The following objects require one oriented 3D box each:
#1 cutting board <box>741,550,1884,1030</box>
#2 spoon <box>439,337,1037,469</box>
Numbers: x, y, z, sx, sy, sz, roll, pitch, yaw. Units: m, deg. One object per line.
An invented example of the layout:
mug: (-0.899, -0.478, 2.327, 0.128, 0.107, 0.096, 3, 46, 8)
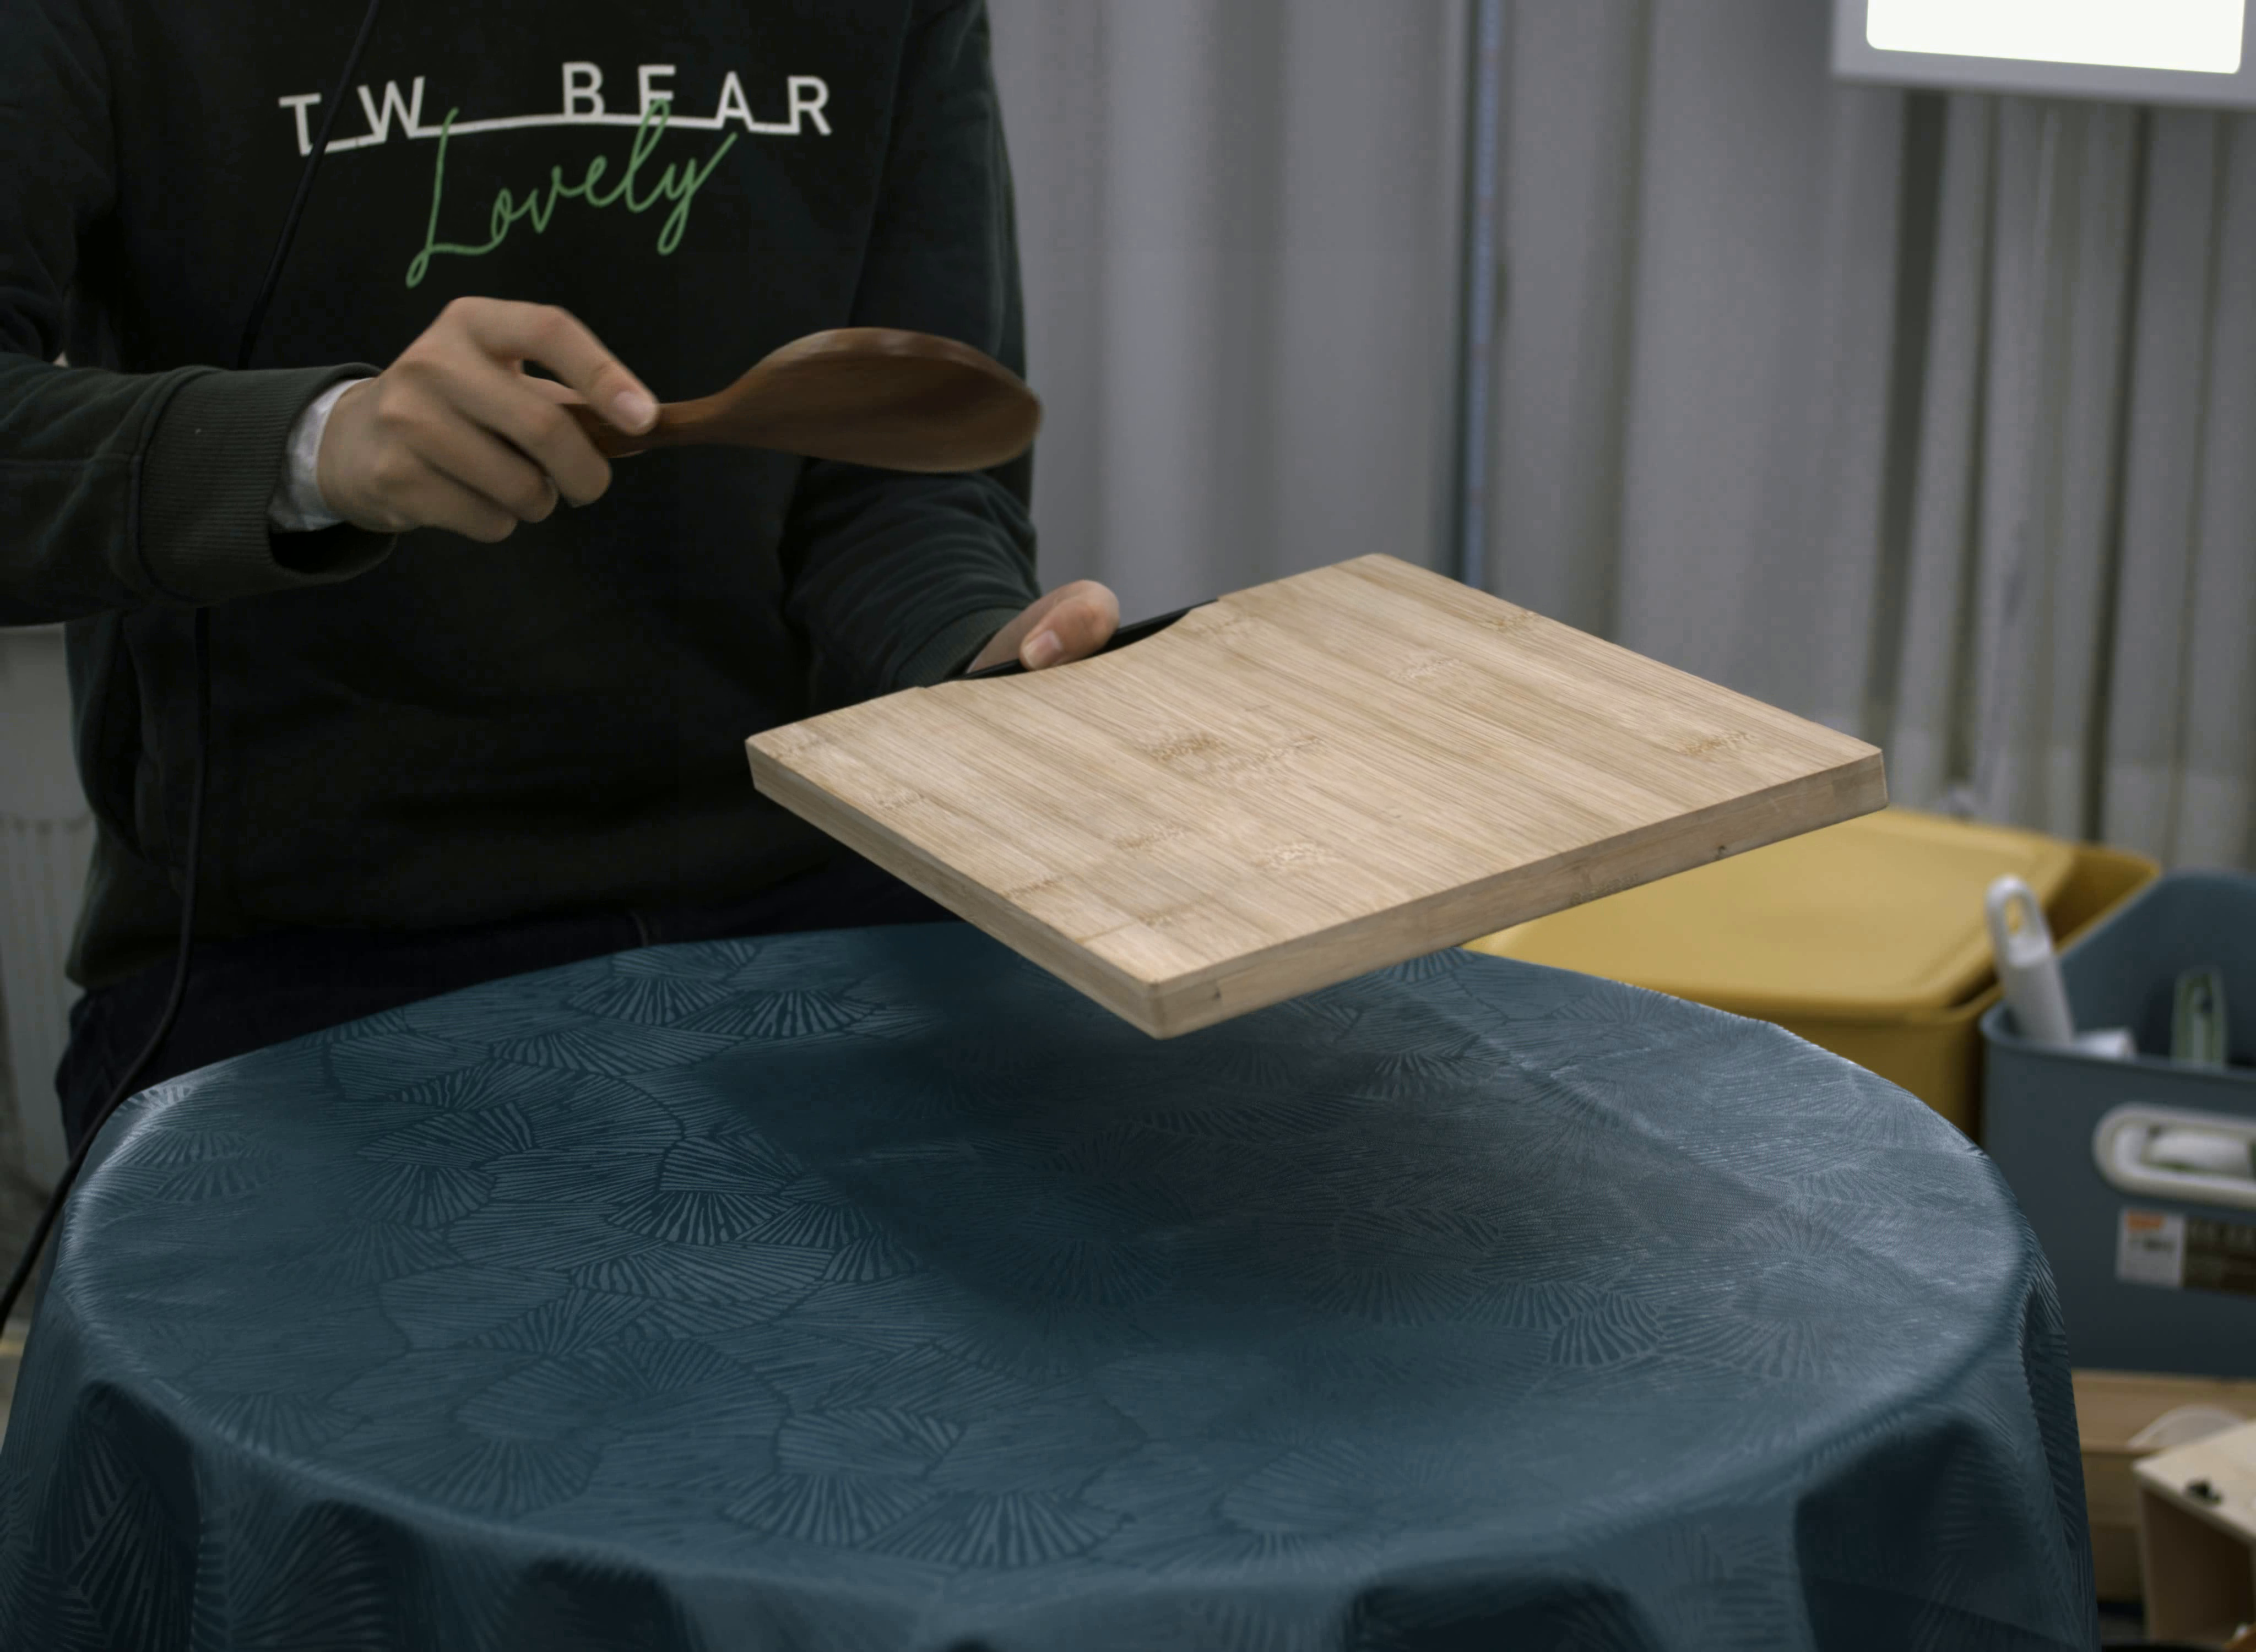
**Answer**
cutting board: (0.046, -0.018, 1.652, 0.251, 0.024, 0.344, -17, 19, -21)
spoon: (-0.122, -0.121, 1.572, 0.213, 0.017, 0.076, 0, -20, 34)
